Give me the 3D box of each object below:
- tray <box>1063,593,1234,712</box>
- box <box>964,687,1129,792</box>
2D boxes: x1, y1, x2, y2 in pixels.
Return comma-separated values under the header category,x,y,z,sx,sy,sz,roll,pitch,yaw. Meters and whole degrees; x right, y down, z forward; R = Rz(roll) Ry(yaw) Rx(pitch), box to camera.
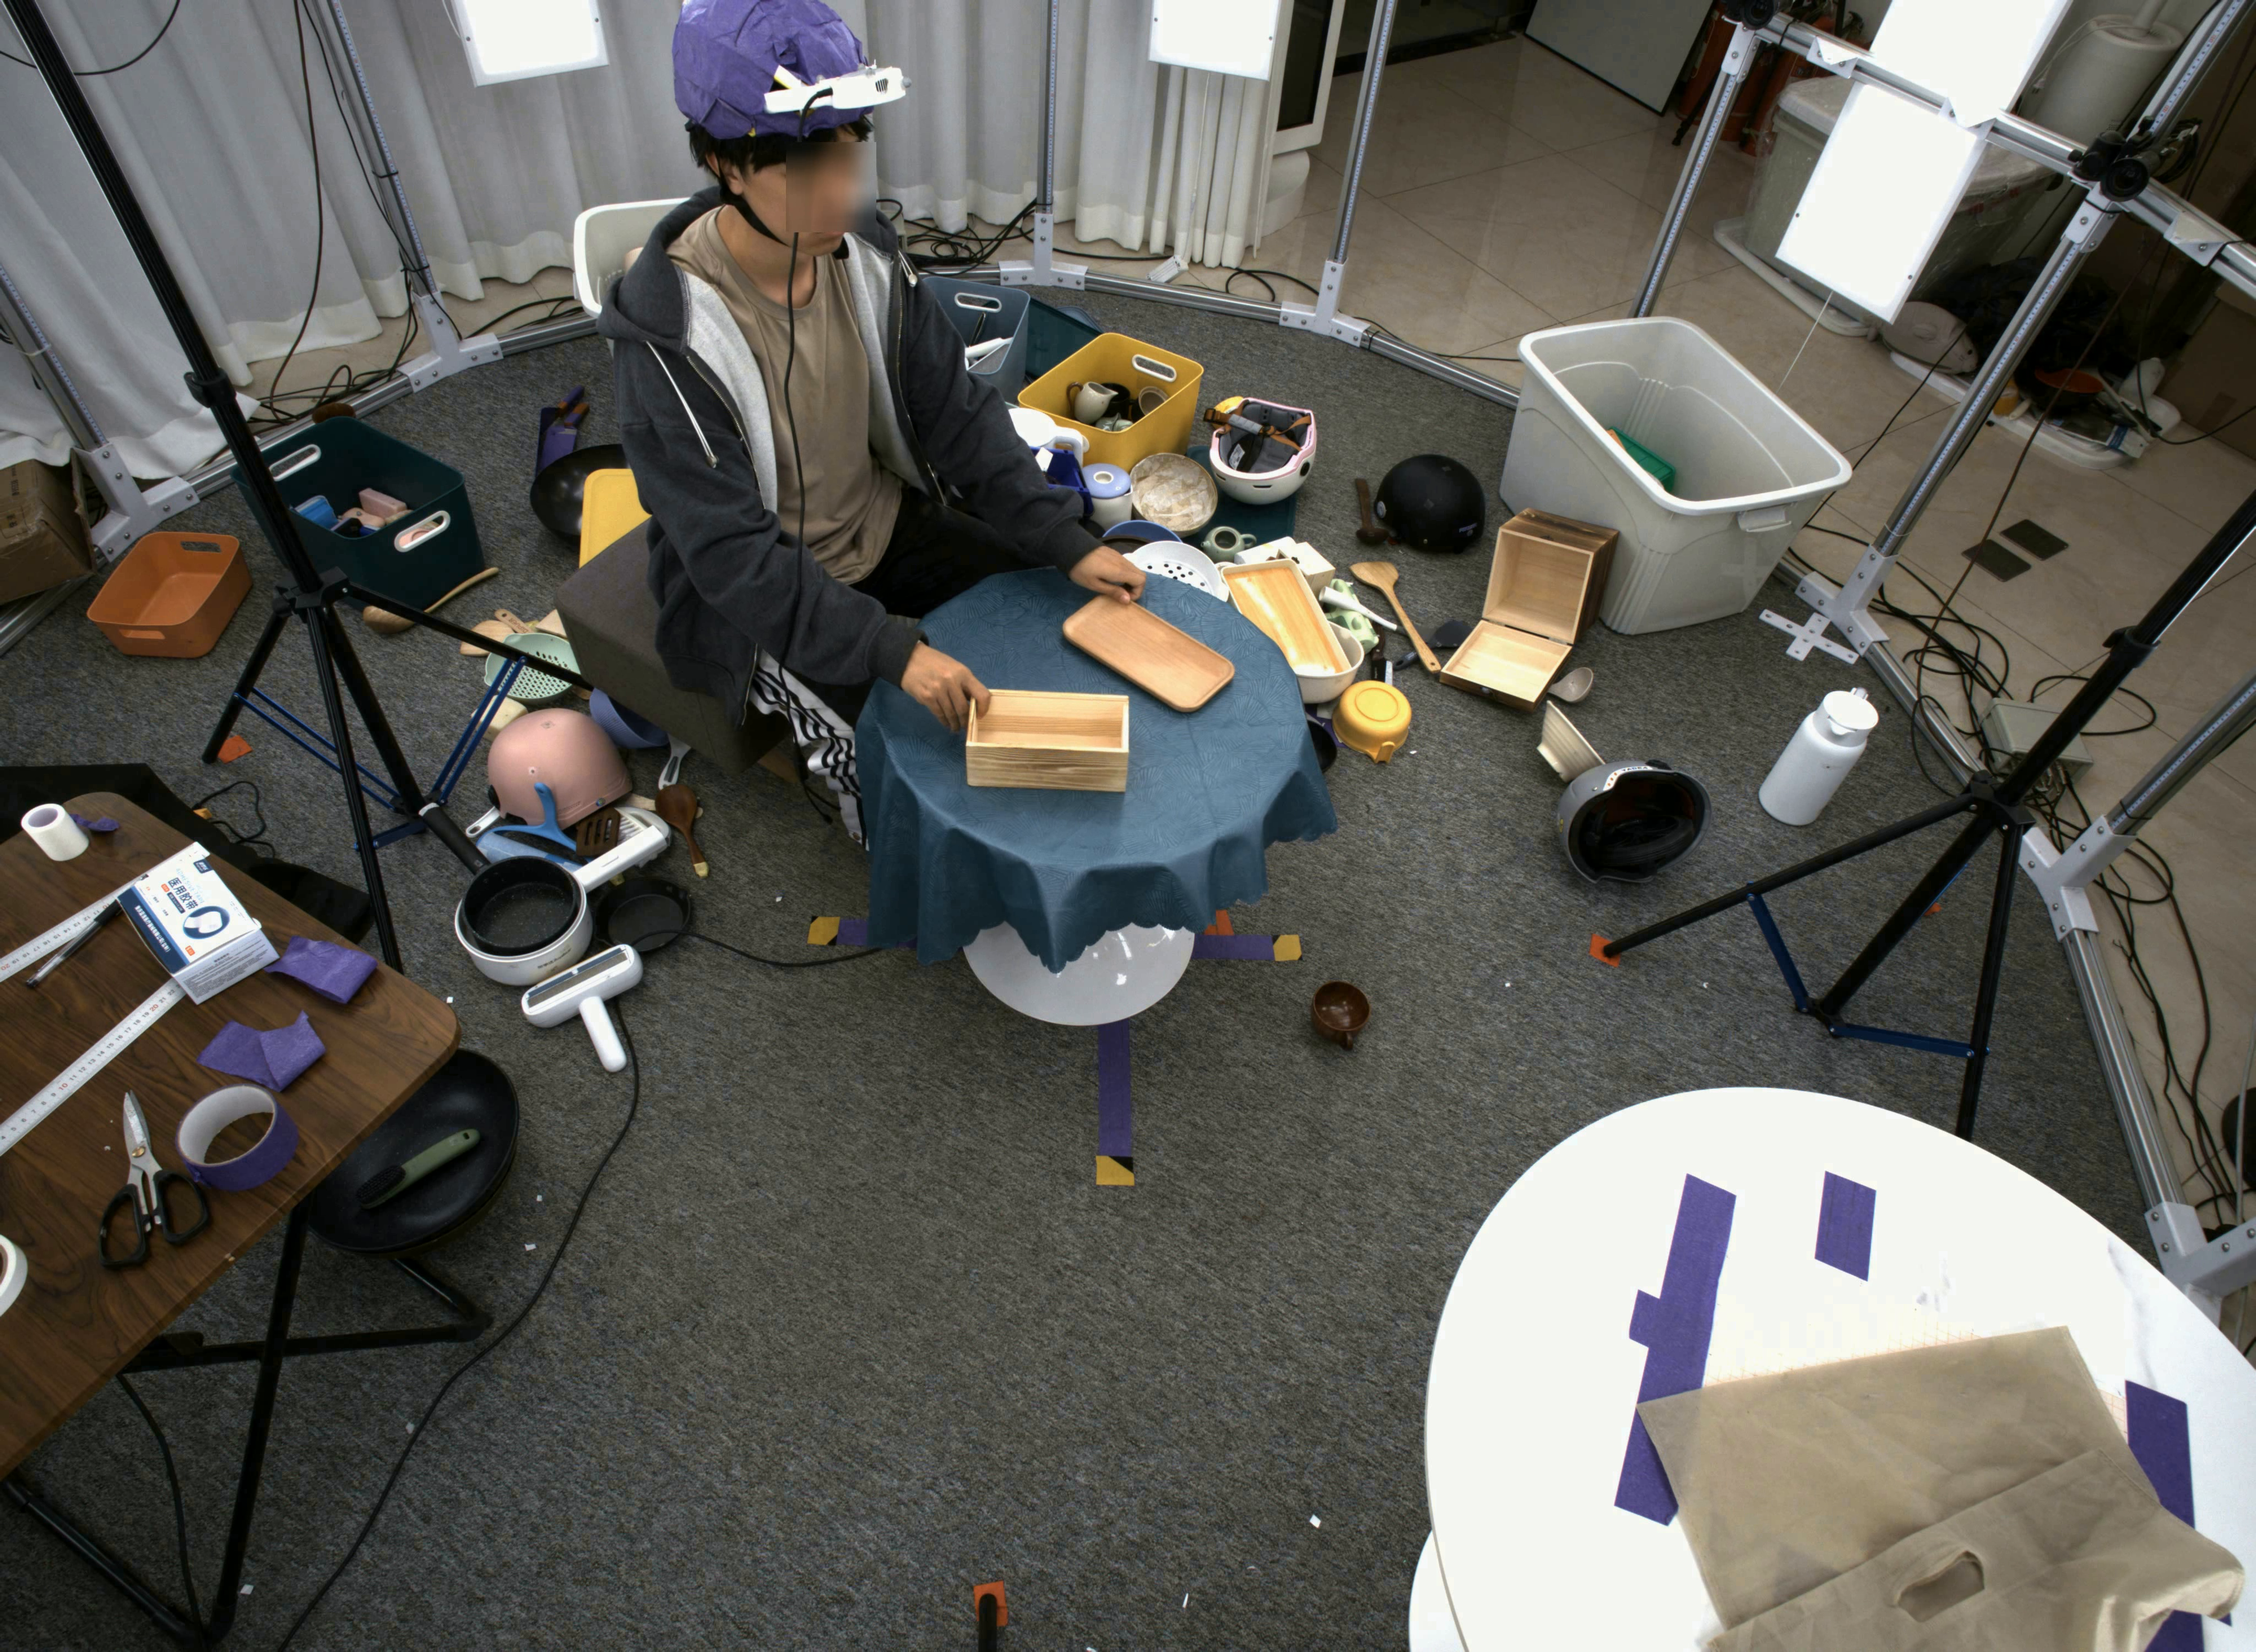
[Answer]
category,x,y,z,sx,sy,sz,roll,pitch,yaw
tray,0.028,-0.255,1.876,0.254,0.022,0.132,34,53,23
box,-0.106,-0.115,1.707,0.211,0.078,0.110,2,49,-2
